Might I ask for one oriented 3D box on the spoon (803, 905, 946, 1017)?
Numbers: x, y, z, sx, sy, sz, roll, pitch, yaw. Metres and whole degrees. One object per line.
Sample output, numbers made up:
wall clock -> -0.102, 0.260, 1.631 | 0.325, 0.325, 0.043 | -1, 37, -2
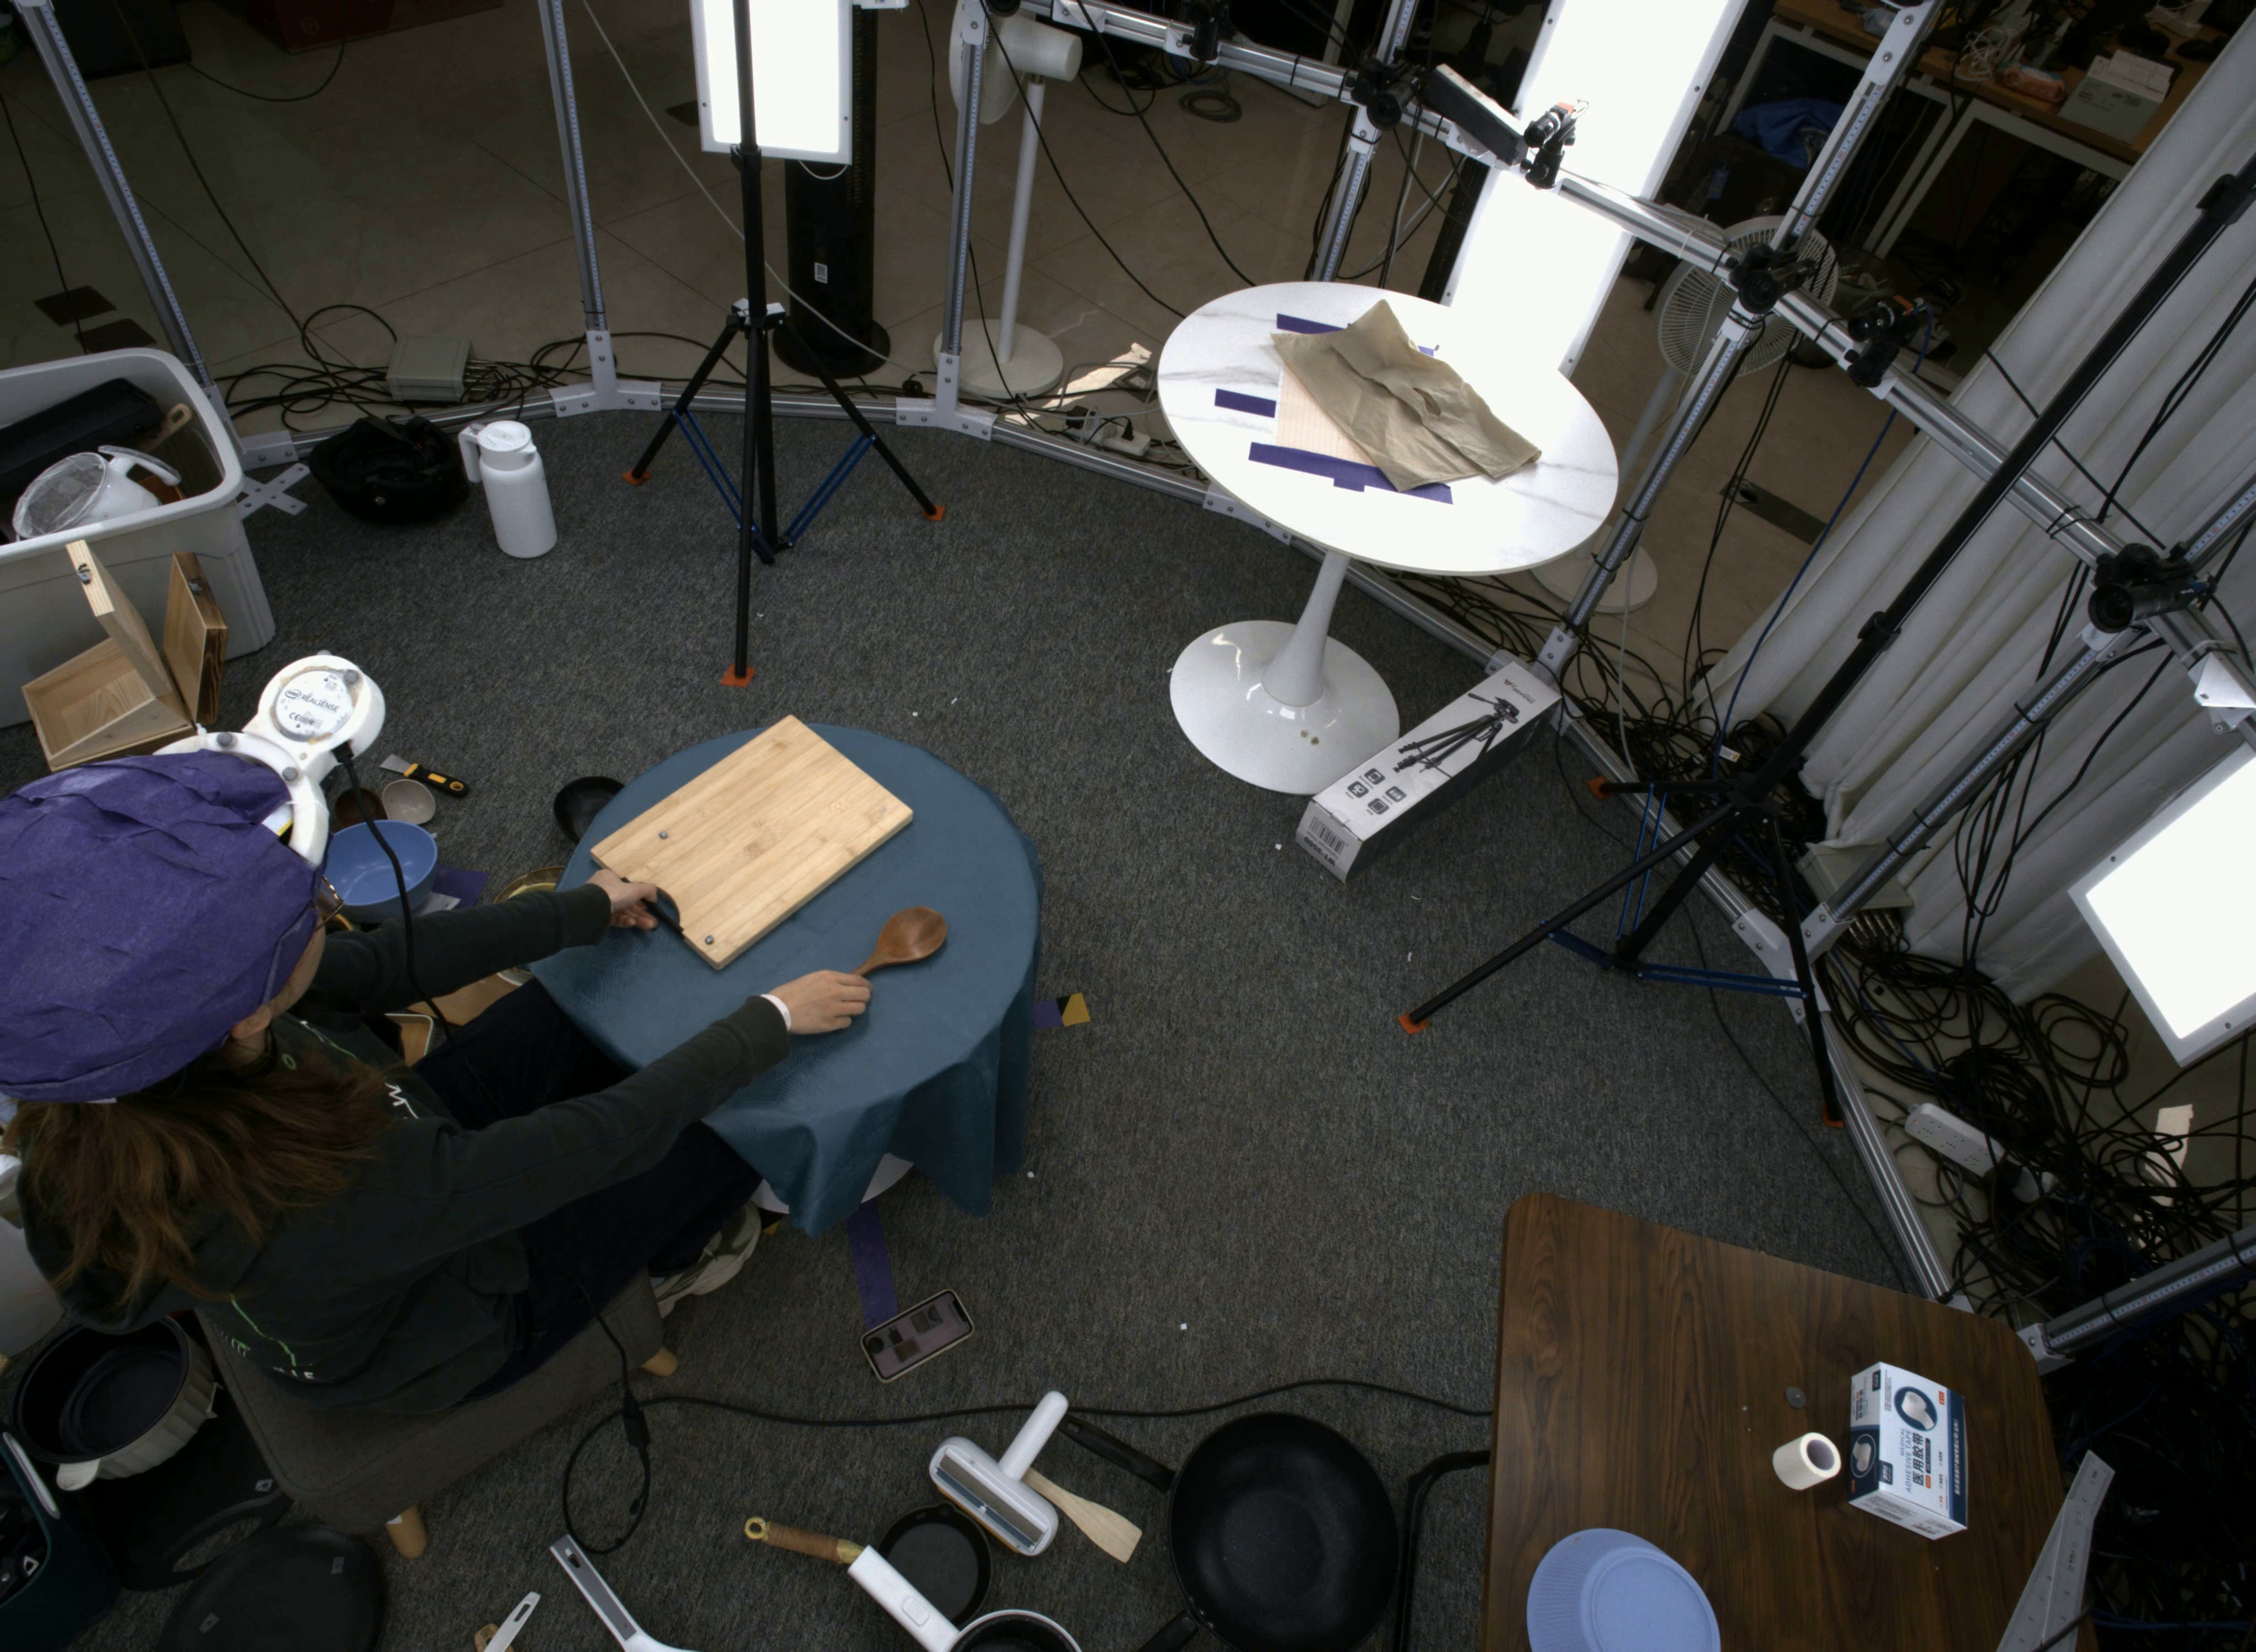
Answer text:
spoon -> -0.316, 0.168, 1.620 | 0.074, 0.017, 0.216 | 43, 55, 15

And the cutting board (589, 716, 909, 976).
cutting board -> -0.490, 0.014, 1.691 | 0.245, 0.024, 0.348 | 36, 54, 14
